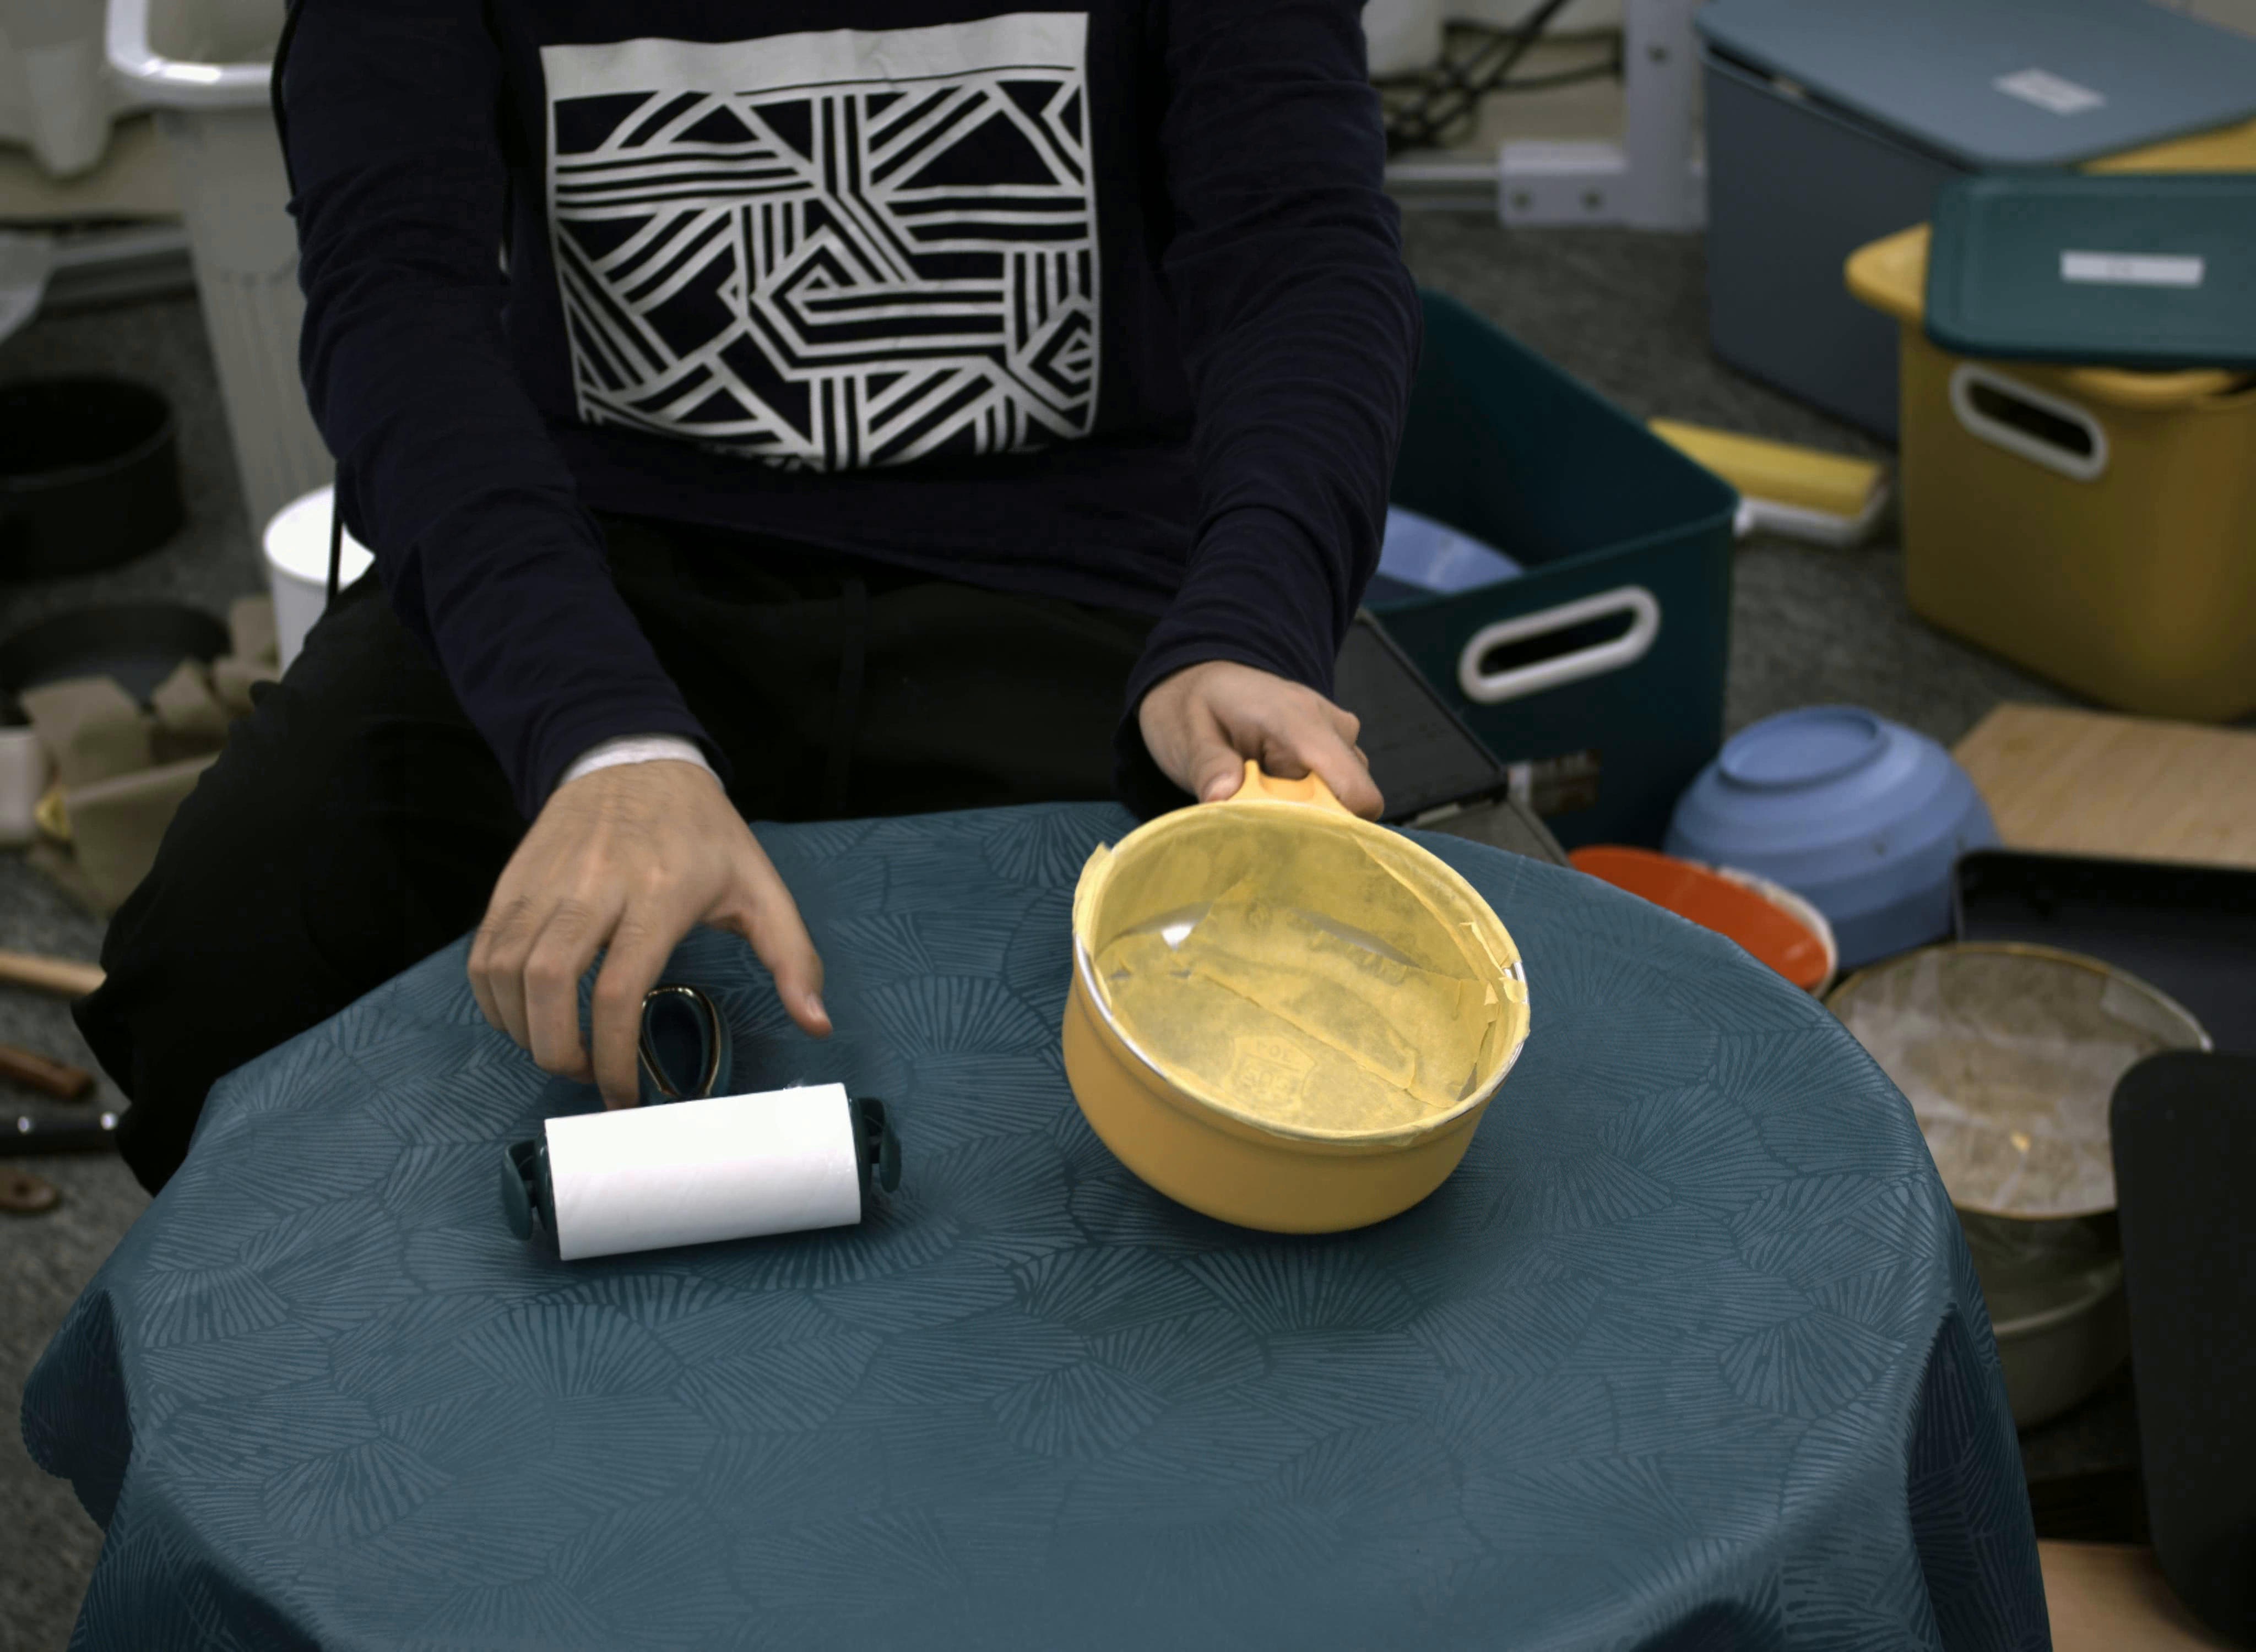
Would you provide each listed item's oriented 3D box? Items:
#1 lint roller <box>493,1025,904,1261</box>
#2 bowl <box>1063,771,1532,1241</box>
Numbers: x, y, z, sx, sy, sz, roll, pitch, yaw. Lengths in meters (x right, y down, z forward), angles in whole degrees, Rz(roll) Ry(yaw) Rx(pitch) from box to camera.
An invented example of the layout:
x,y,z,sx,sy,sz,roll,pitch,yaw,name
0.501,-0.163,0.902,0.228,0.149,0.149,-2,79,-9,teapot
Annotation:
x,y,z,sx,sy,sz,roll,pitch,yaw,name
-0.151,0.088,1.900,0.134,0.048,0.182,-7,23,-7,lint roller
0.051,0.060,1.866,0.153,0.073,0.182,2,43,-14,bowl
